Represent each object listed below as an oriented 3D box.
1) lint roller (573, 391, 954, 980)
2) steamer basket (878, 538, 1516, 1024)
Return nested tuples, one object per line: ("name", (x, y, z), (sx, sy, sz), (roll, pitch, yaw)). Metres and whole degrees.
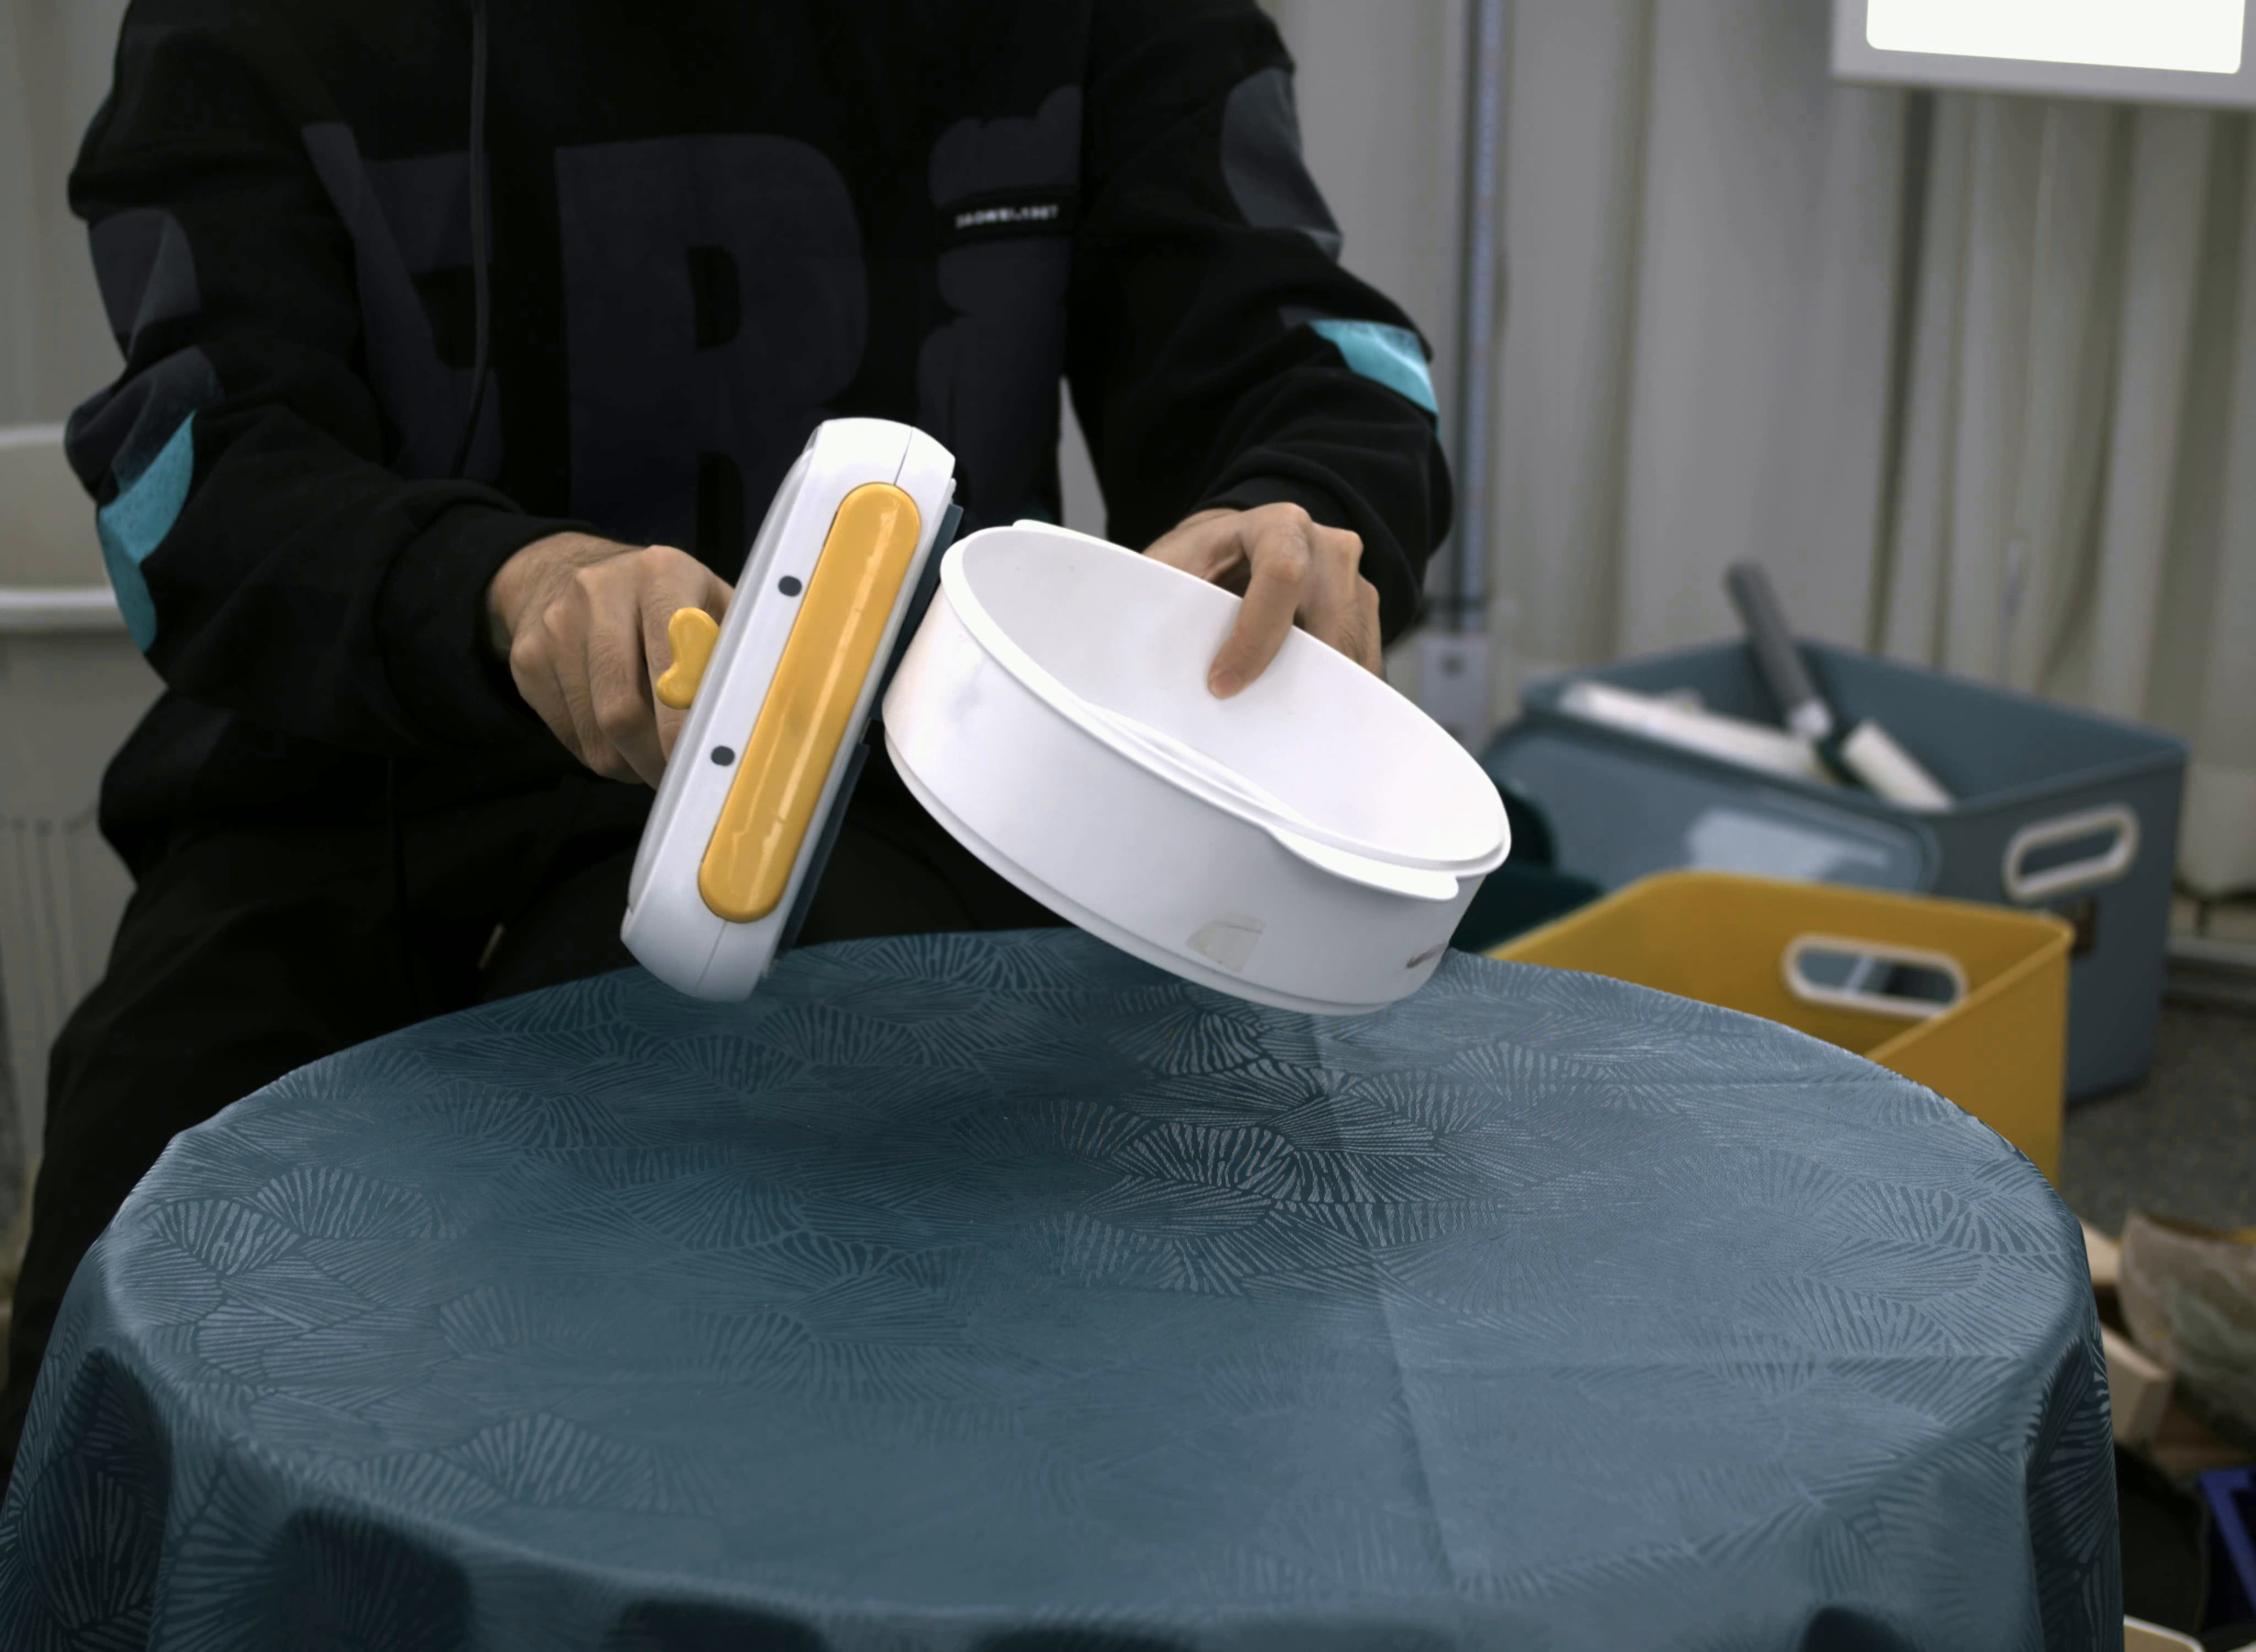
("lint roller", (-0.130, -0.043, 1.714), (0.074, 0.193, 0.191), (18, -9, -17))
("steamer basket", (0.020, -0.012, 1.648), (0.204, 0.069, 0.227), (16, 20, -36))
